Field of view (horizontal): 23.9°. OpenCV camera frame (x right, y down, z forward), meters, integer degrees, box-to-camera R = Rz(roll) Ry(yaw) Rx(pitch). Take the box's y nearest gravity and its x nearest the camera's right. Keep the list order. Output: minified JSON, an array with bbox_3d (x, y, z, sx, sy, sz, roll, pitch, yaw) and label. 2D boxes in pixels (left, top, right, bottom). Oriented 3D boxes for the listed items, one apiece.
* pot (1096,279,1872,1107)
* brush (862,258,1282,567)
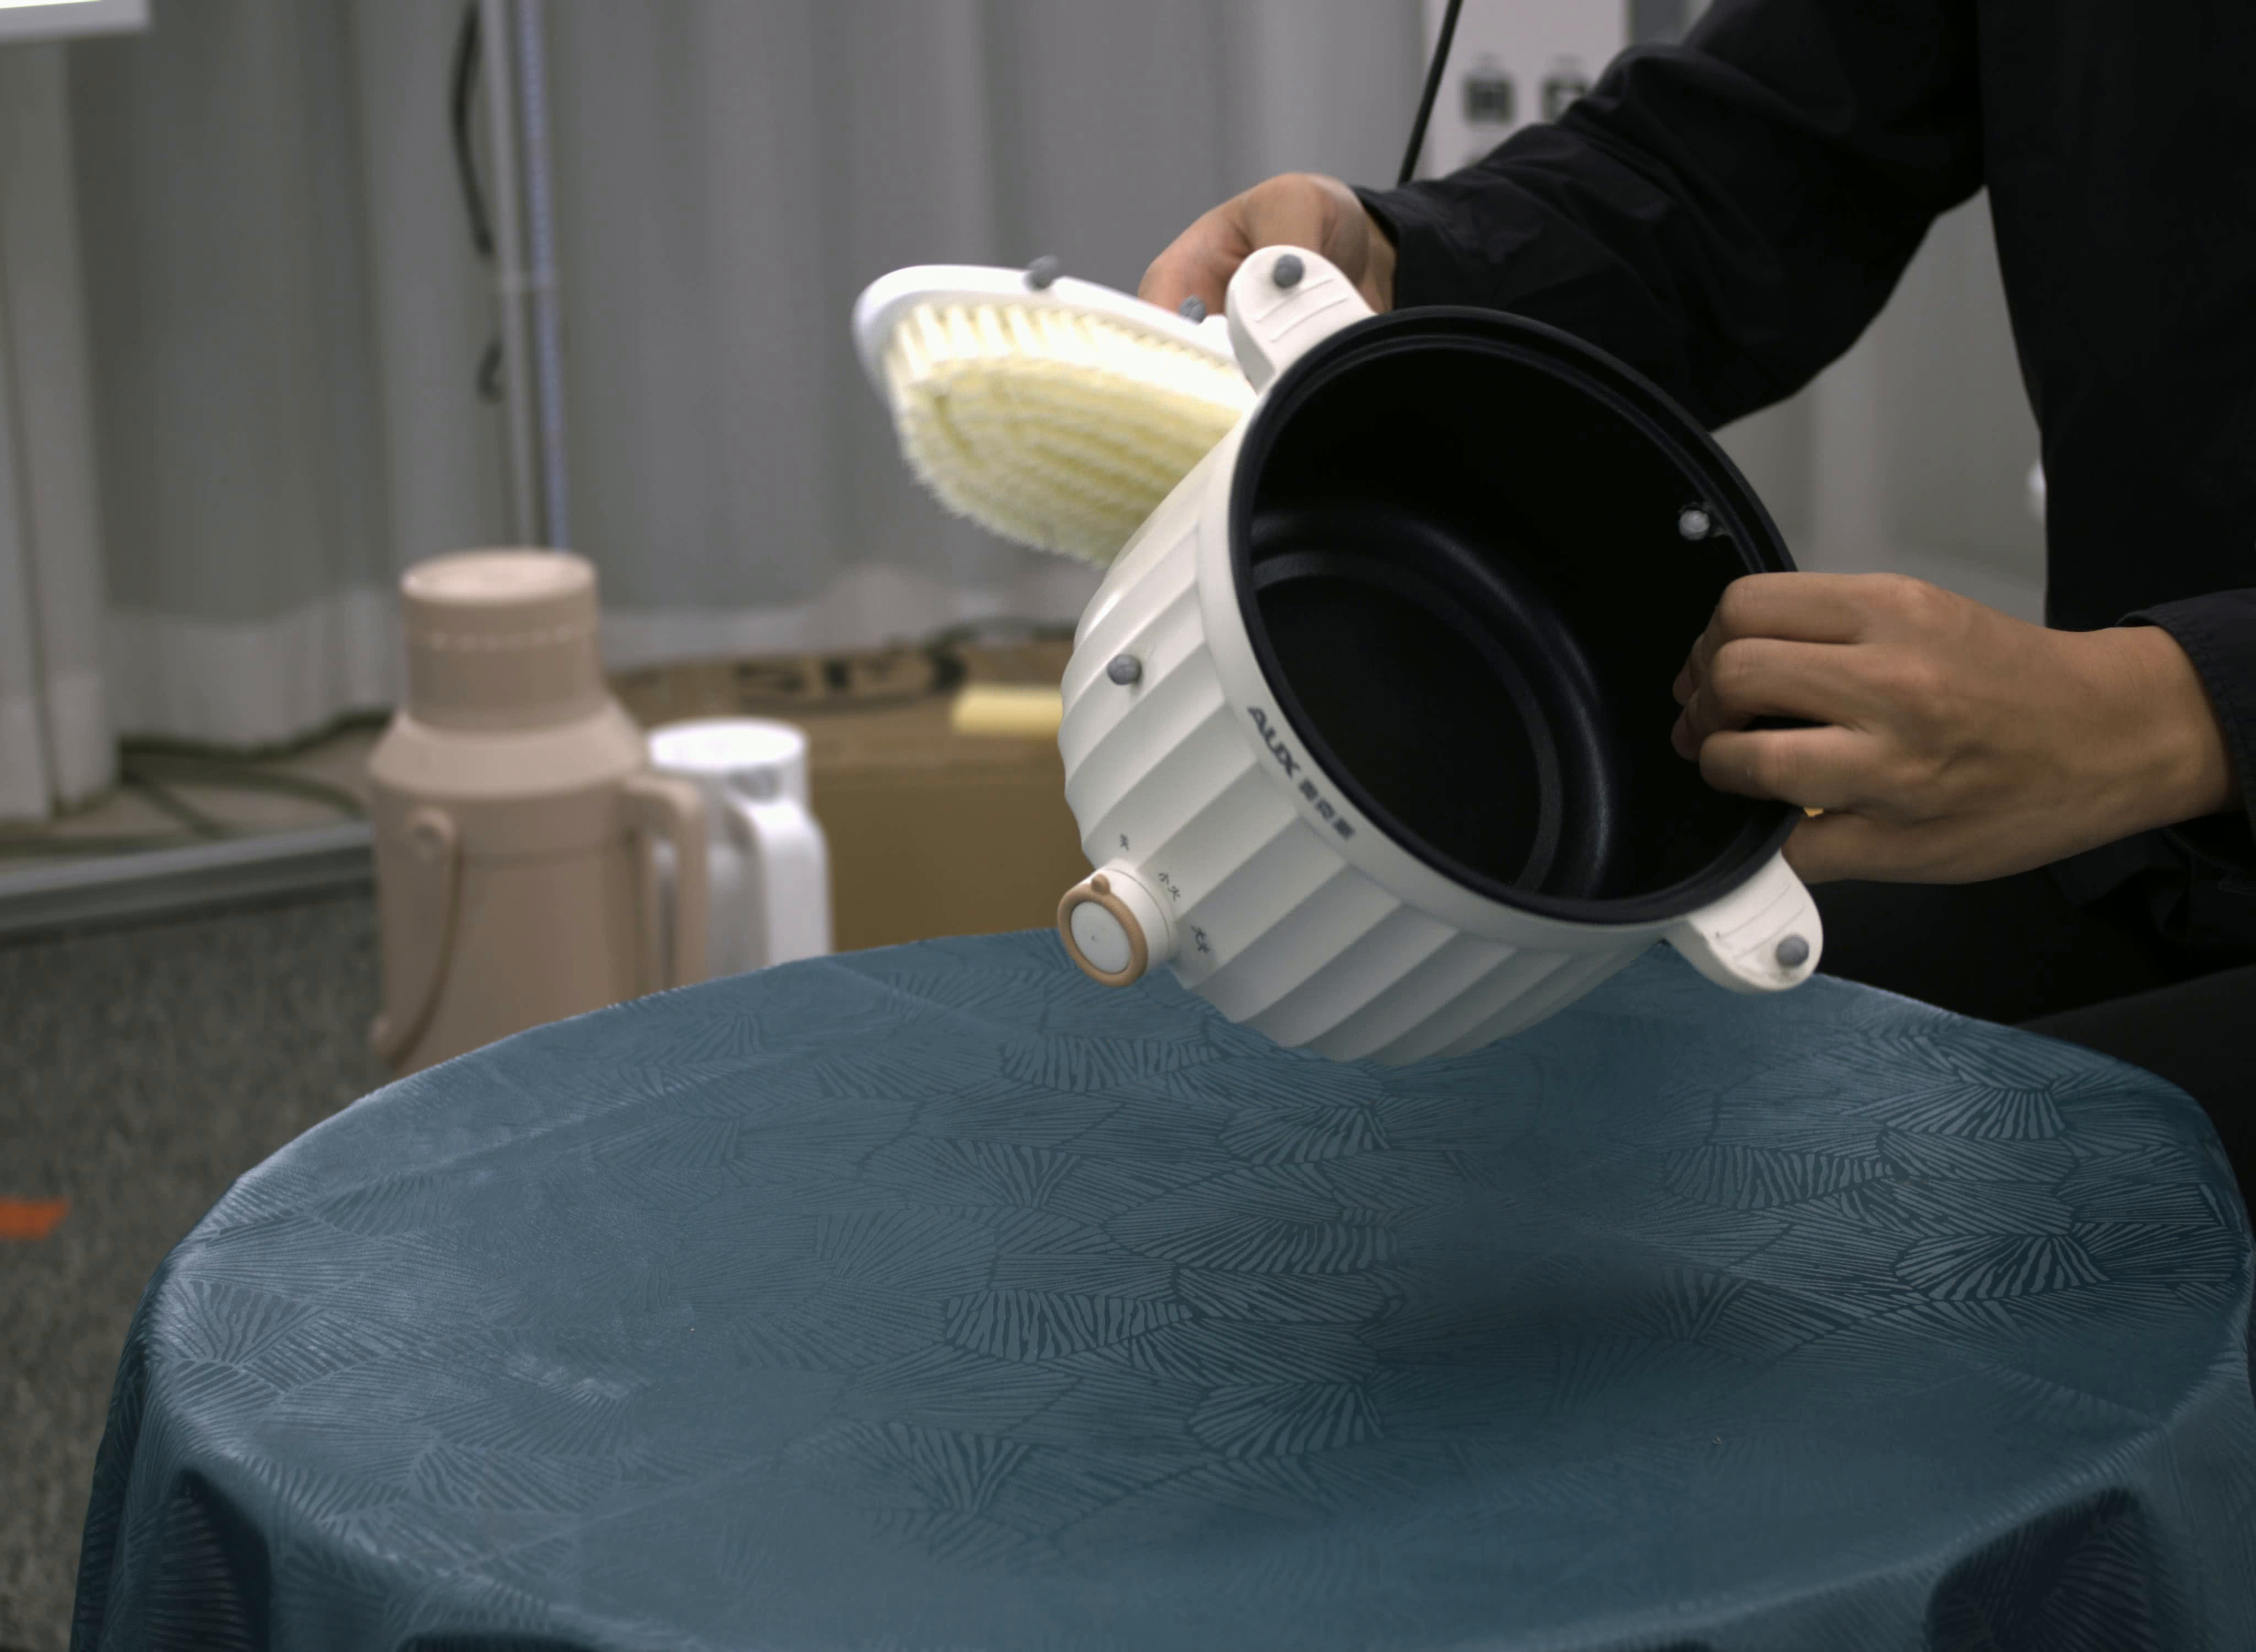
[{"bbox_3d":[0.084,-0.016,1.425,0.187,0.242,0.144,-33,-8,-40],"label":"pot"},{"bbox_3d":[0.039,-0.114,1.560,0.084,0.085,0.317,-4,-5,34],"label":"brush"}]
